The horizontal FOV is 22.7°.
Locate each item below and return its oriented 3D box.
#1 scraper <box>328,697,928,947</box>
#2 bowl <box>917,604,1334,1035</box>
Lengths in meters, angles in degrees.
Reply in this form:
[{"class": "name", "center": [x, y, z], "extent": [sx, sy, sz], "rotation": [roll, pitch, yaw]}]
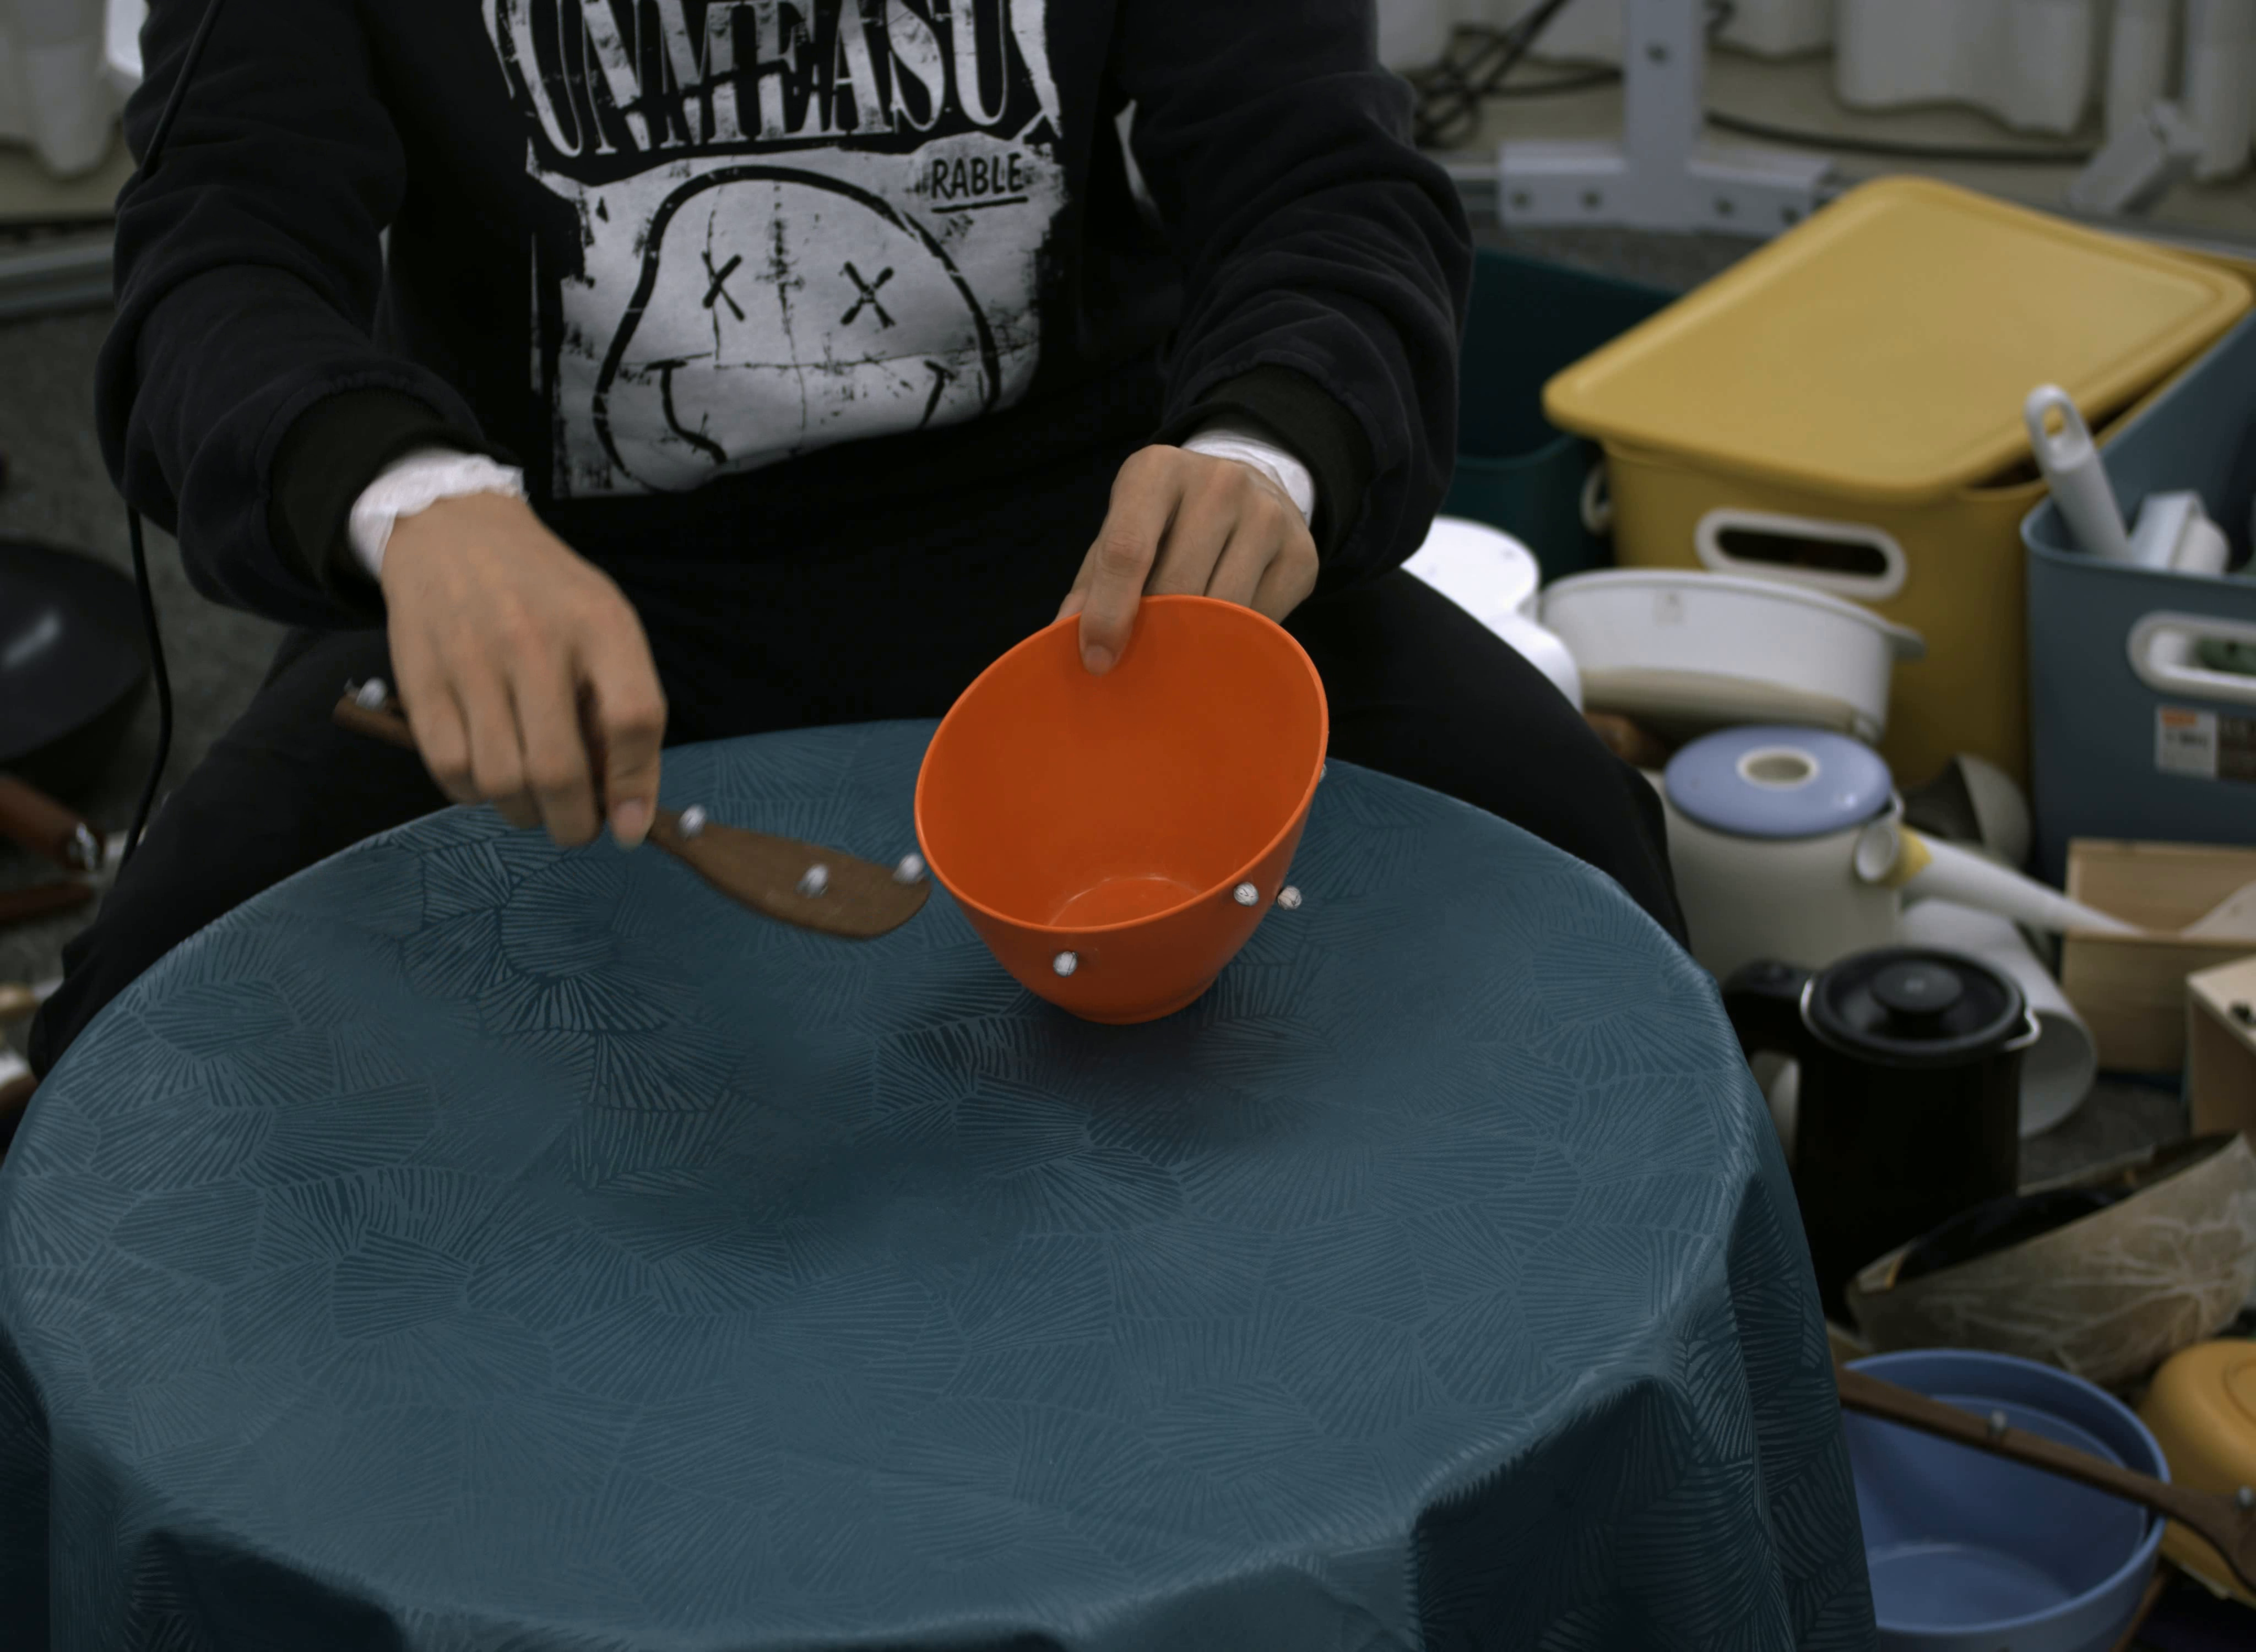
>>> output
[{"class": "scraper", "center": [-0.169, -0.002, 1.871], "extent": [0.210, 0.011, 0.076], "rotation": [21, 19, 10]}, {"class": "bowl", "center": [0.005, 0.009, 1.953], "extent": [0.147, 0.103, 0.151], "rotation": [-5, 43, 5]}]
